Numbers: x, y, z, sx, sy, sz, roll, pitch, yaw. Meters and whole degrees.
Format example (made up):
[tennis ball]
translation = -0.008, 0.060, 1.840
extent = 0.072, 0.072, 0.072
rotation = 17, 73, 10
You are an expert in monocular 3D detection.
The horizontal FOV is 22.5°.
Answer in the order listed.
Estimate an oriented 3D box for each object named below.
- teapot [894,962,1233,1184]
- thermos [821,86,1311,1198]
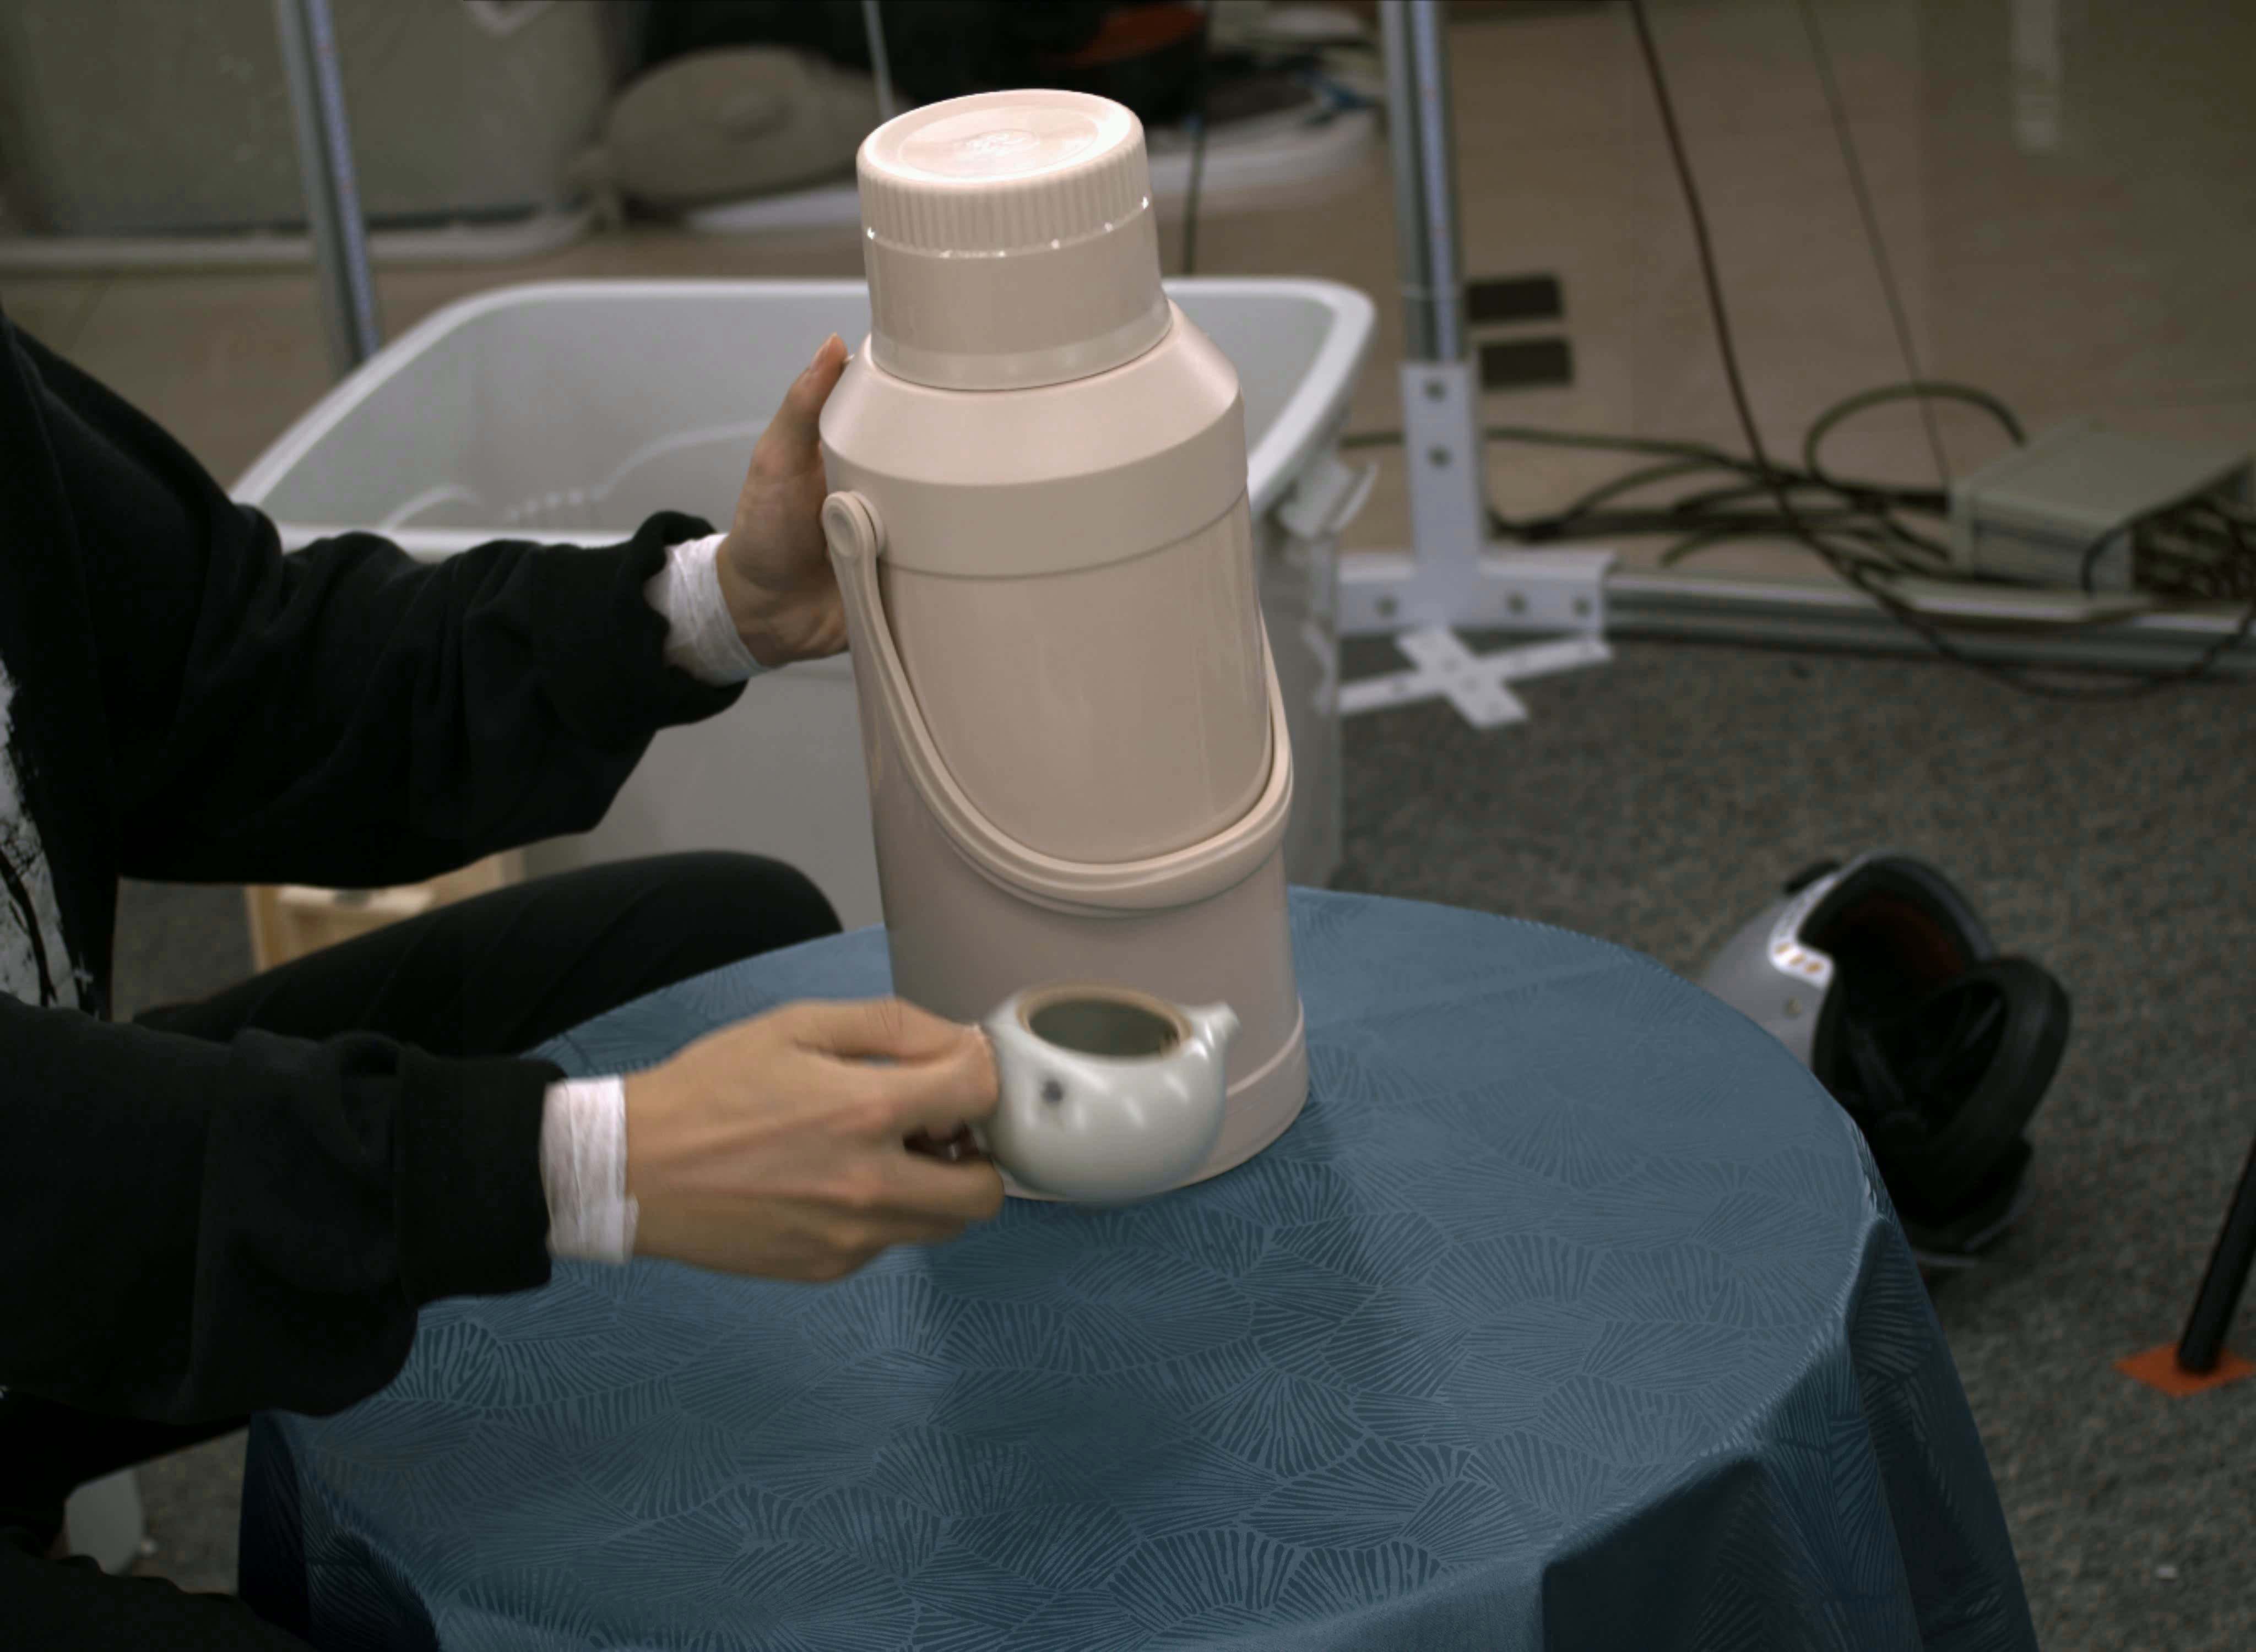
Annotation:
[teapot]
translation = -0.023, 0.086, 1.948
extent = 0.128, 0.060, 0.090
rotation = -6, 29, -30
[thermos]
translation = -0.034, -0.074, 2.134
extent = 0.174, 0.413, 0.205
rotation = -25, 34, -30
